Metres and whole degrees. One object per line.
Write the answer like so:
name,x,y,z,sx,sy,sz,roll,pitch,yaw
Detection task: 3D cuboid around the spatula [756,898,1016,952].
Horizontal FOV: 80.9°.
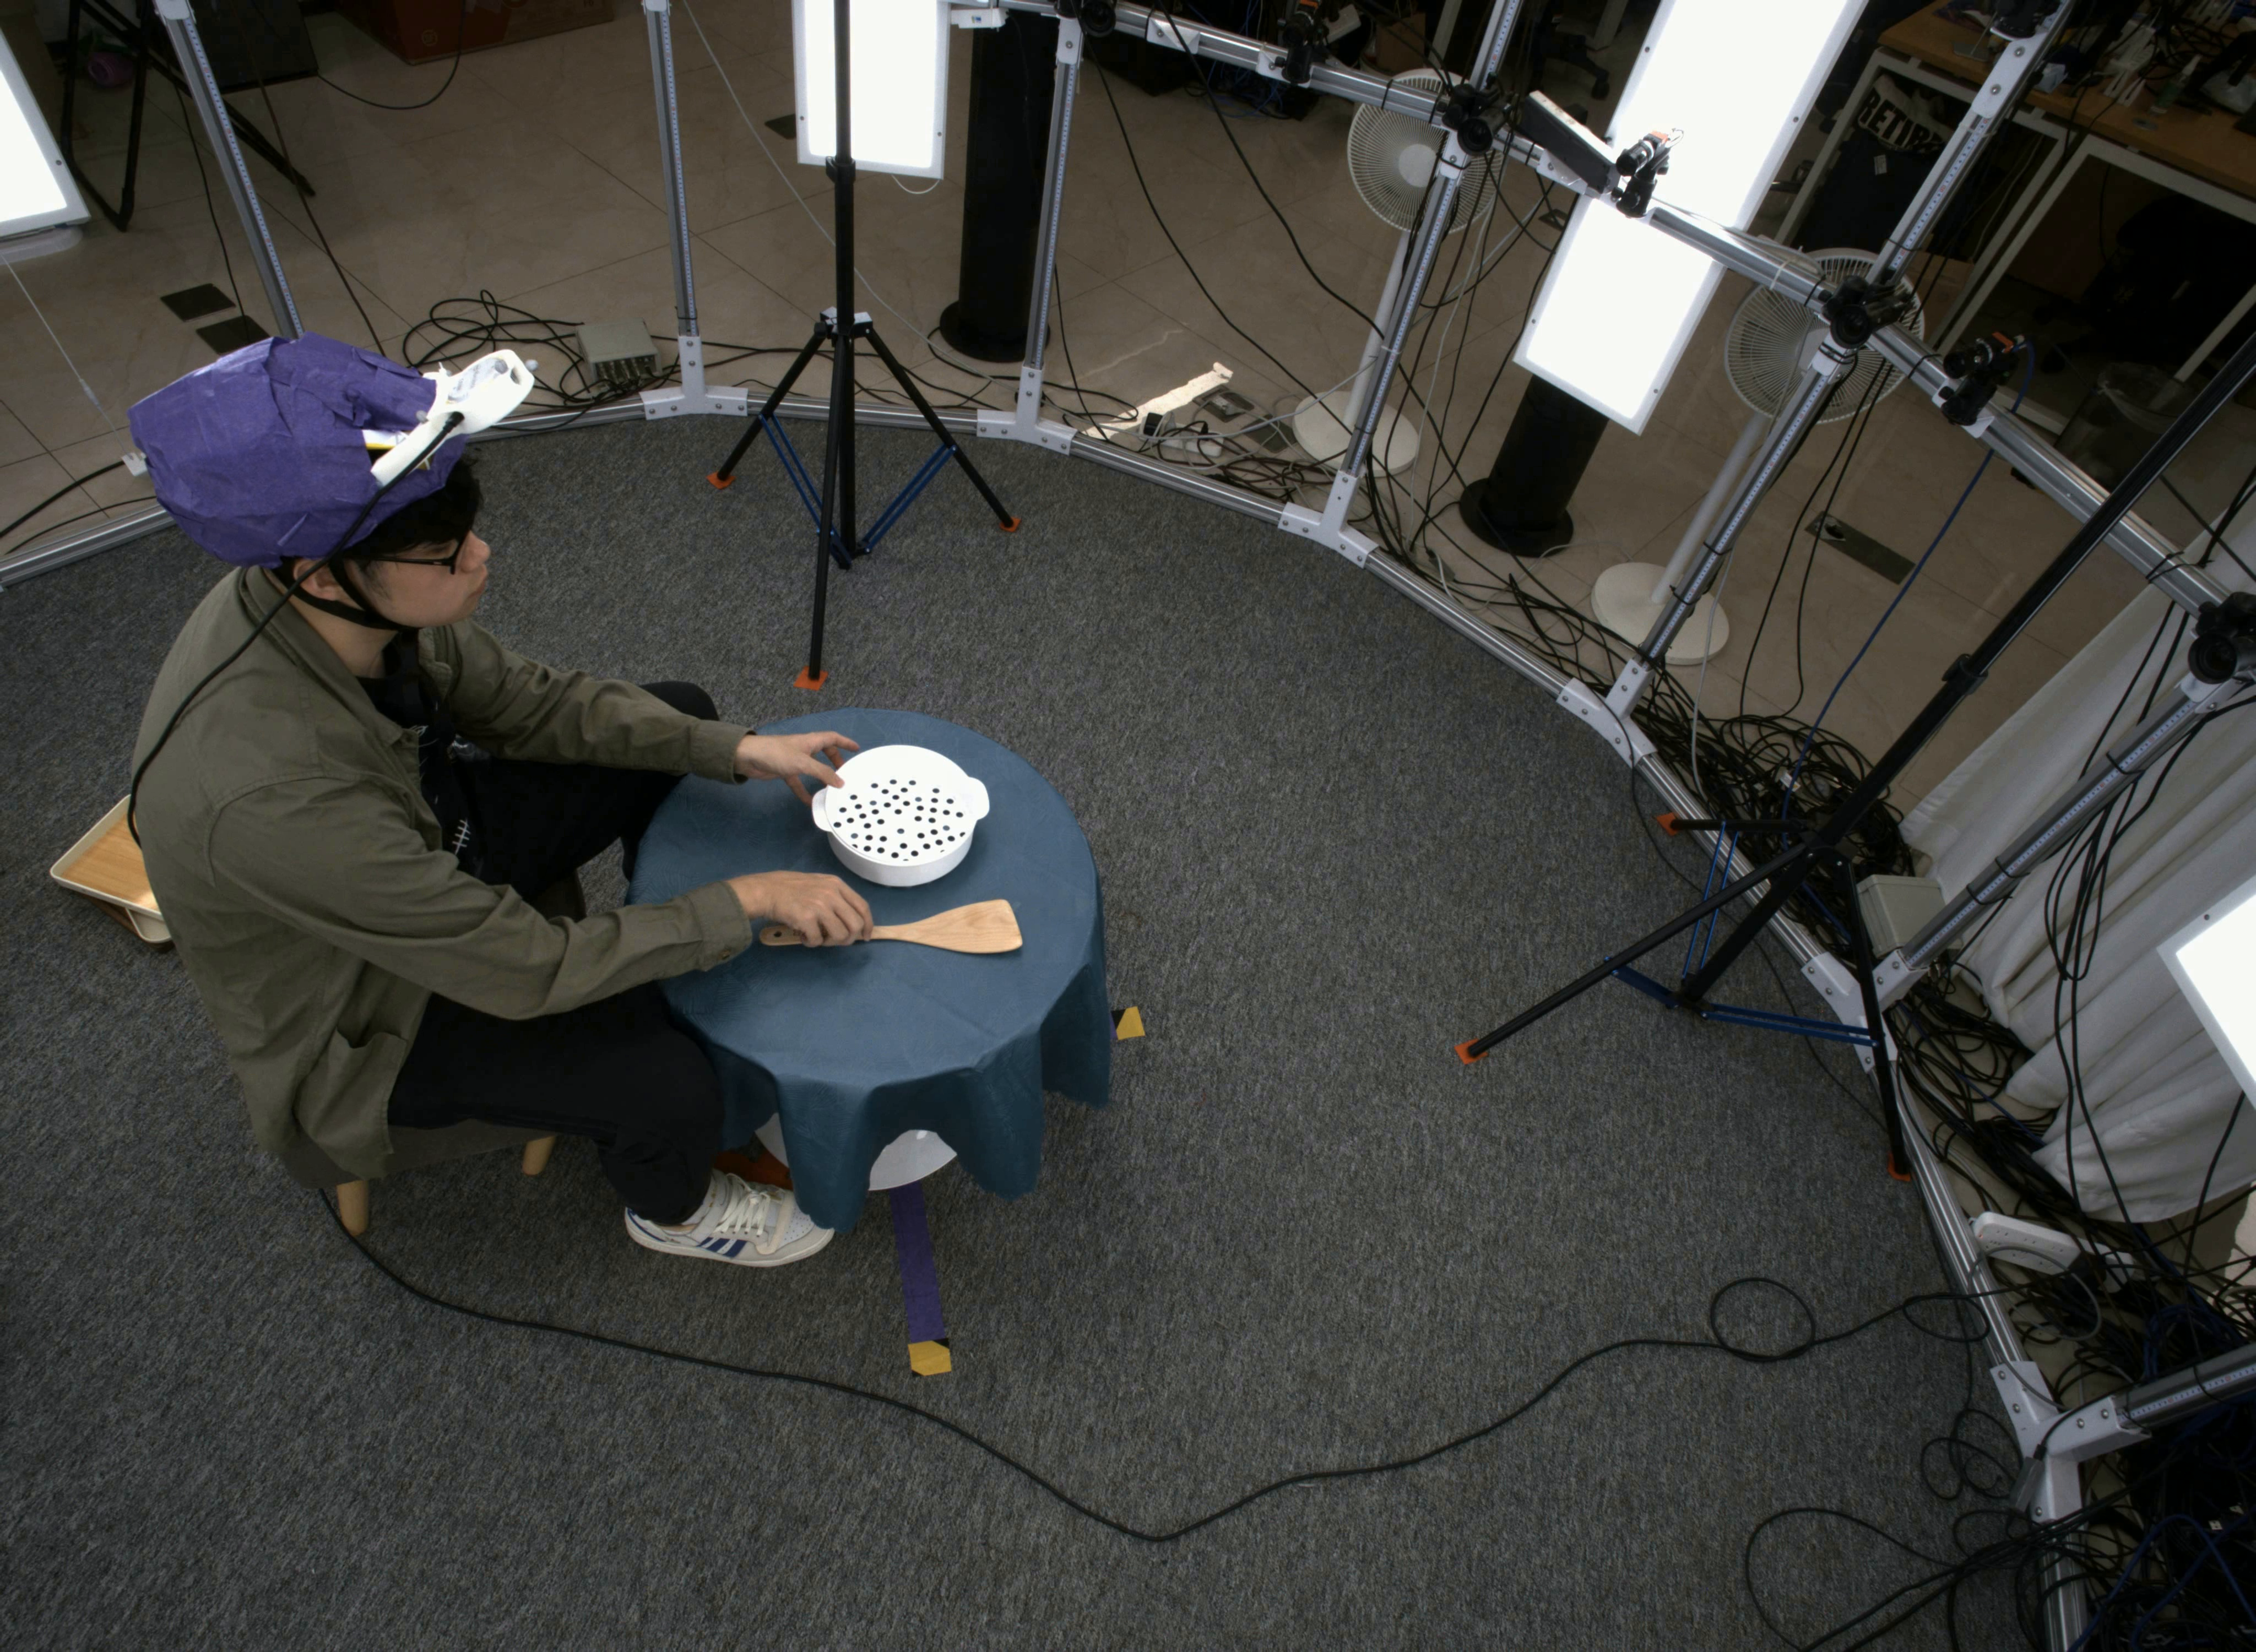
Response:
spatula,-0.308,0.131,1.661,0.328,0.017,0.078,-1,54,-15

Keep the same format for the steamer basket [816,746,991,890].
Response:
steamer basket,-0.298,-0.011,1.738,0.231,0.071,0.197,-6,55,-15
